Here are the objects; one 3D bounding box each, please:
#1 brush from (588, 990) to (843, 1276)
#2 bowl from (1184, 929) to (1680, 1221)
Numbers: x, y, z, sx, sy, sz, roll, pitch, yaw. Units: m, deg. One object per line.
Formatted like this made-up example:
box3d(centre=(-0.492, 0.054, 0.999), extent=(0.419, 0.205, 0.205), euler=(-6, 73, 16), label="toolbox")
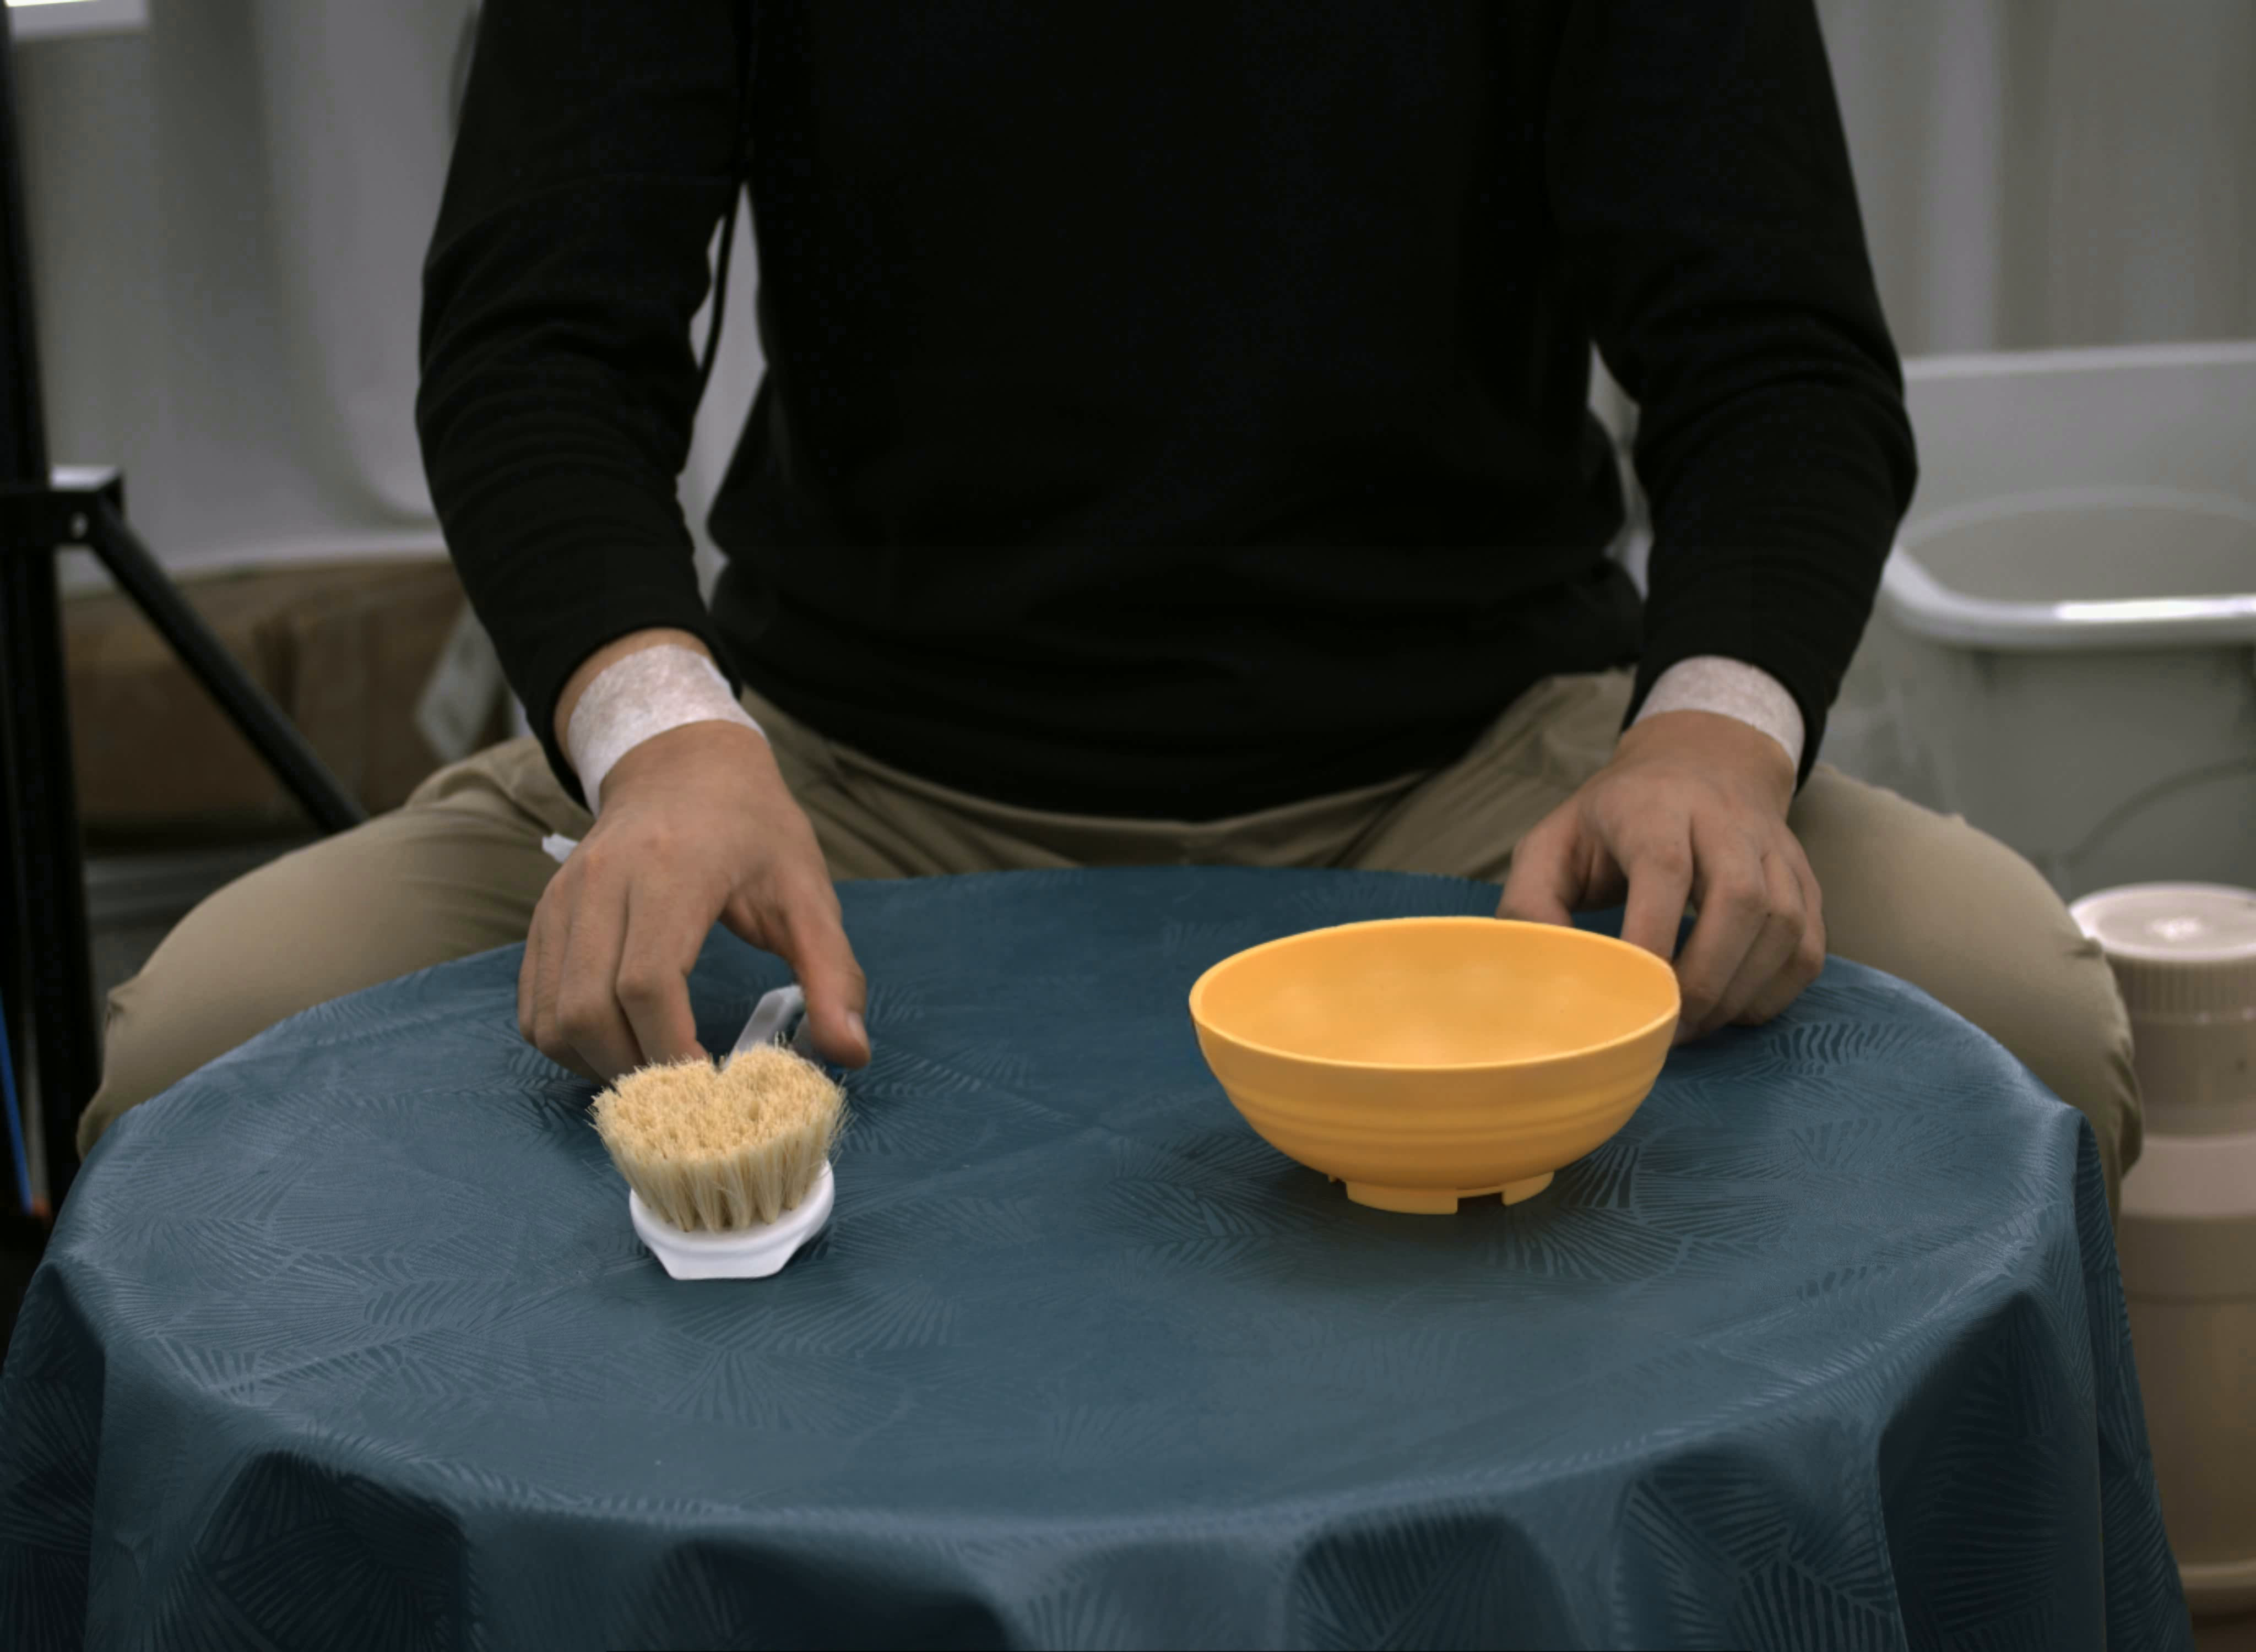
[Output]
box3d(centre=(-0.115, 0.068, 1.620), extent=(0.068, 0.056, 0.266), euler=(3, 15, 3), label="brush")
box3d(centre=(0.088, 0.077, 1.549), extent=(0.144, 0.060, 0.146), euler=(-1, 14, -1), label="bowl")
